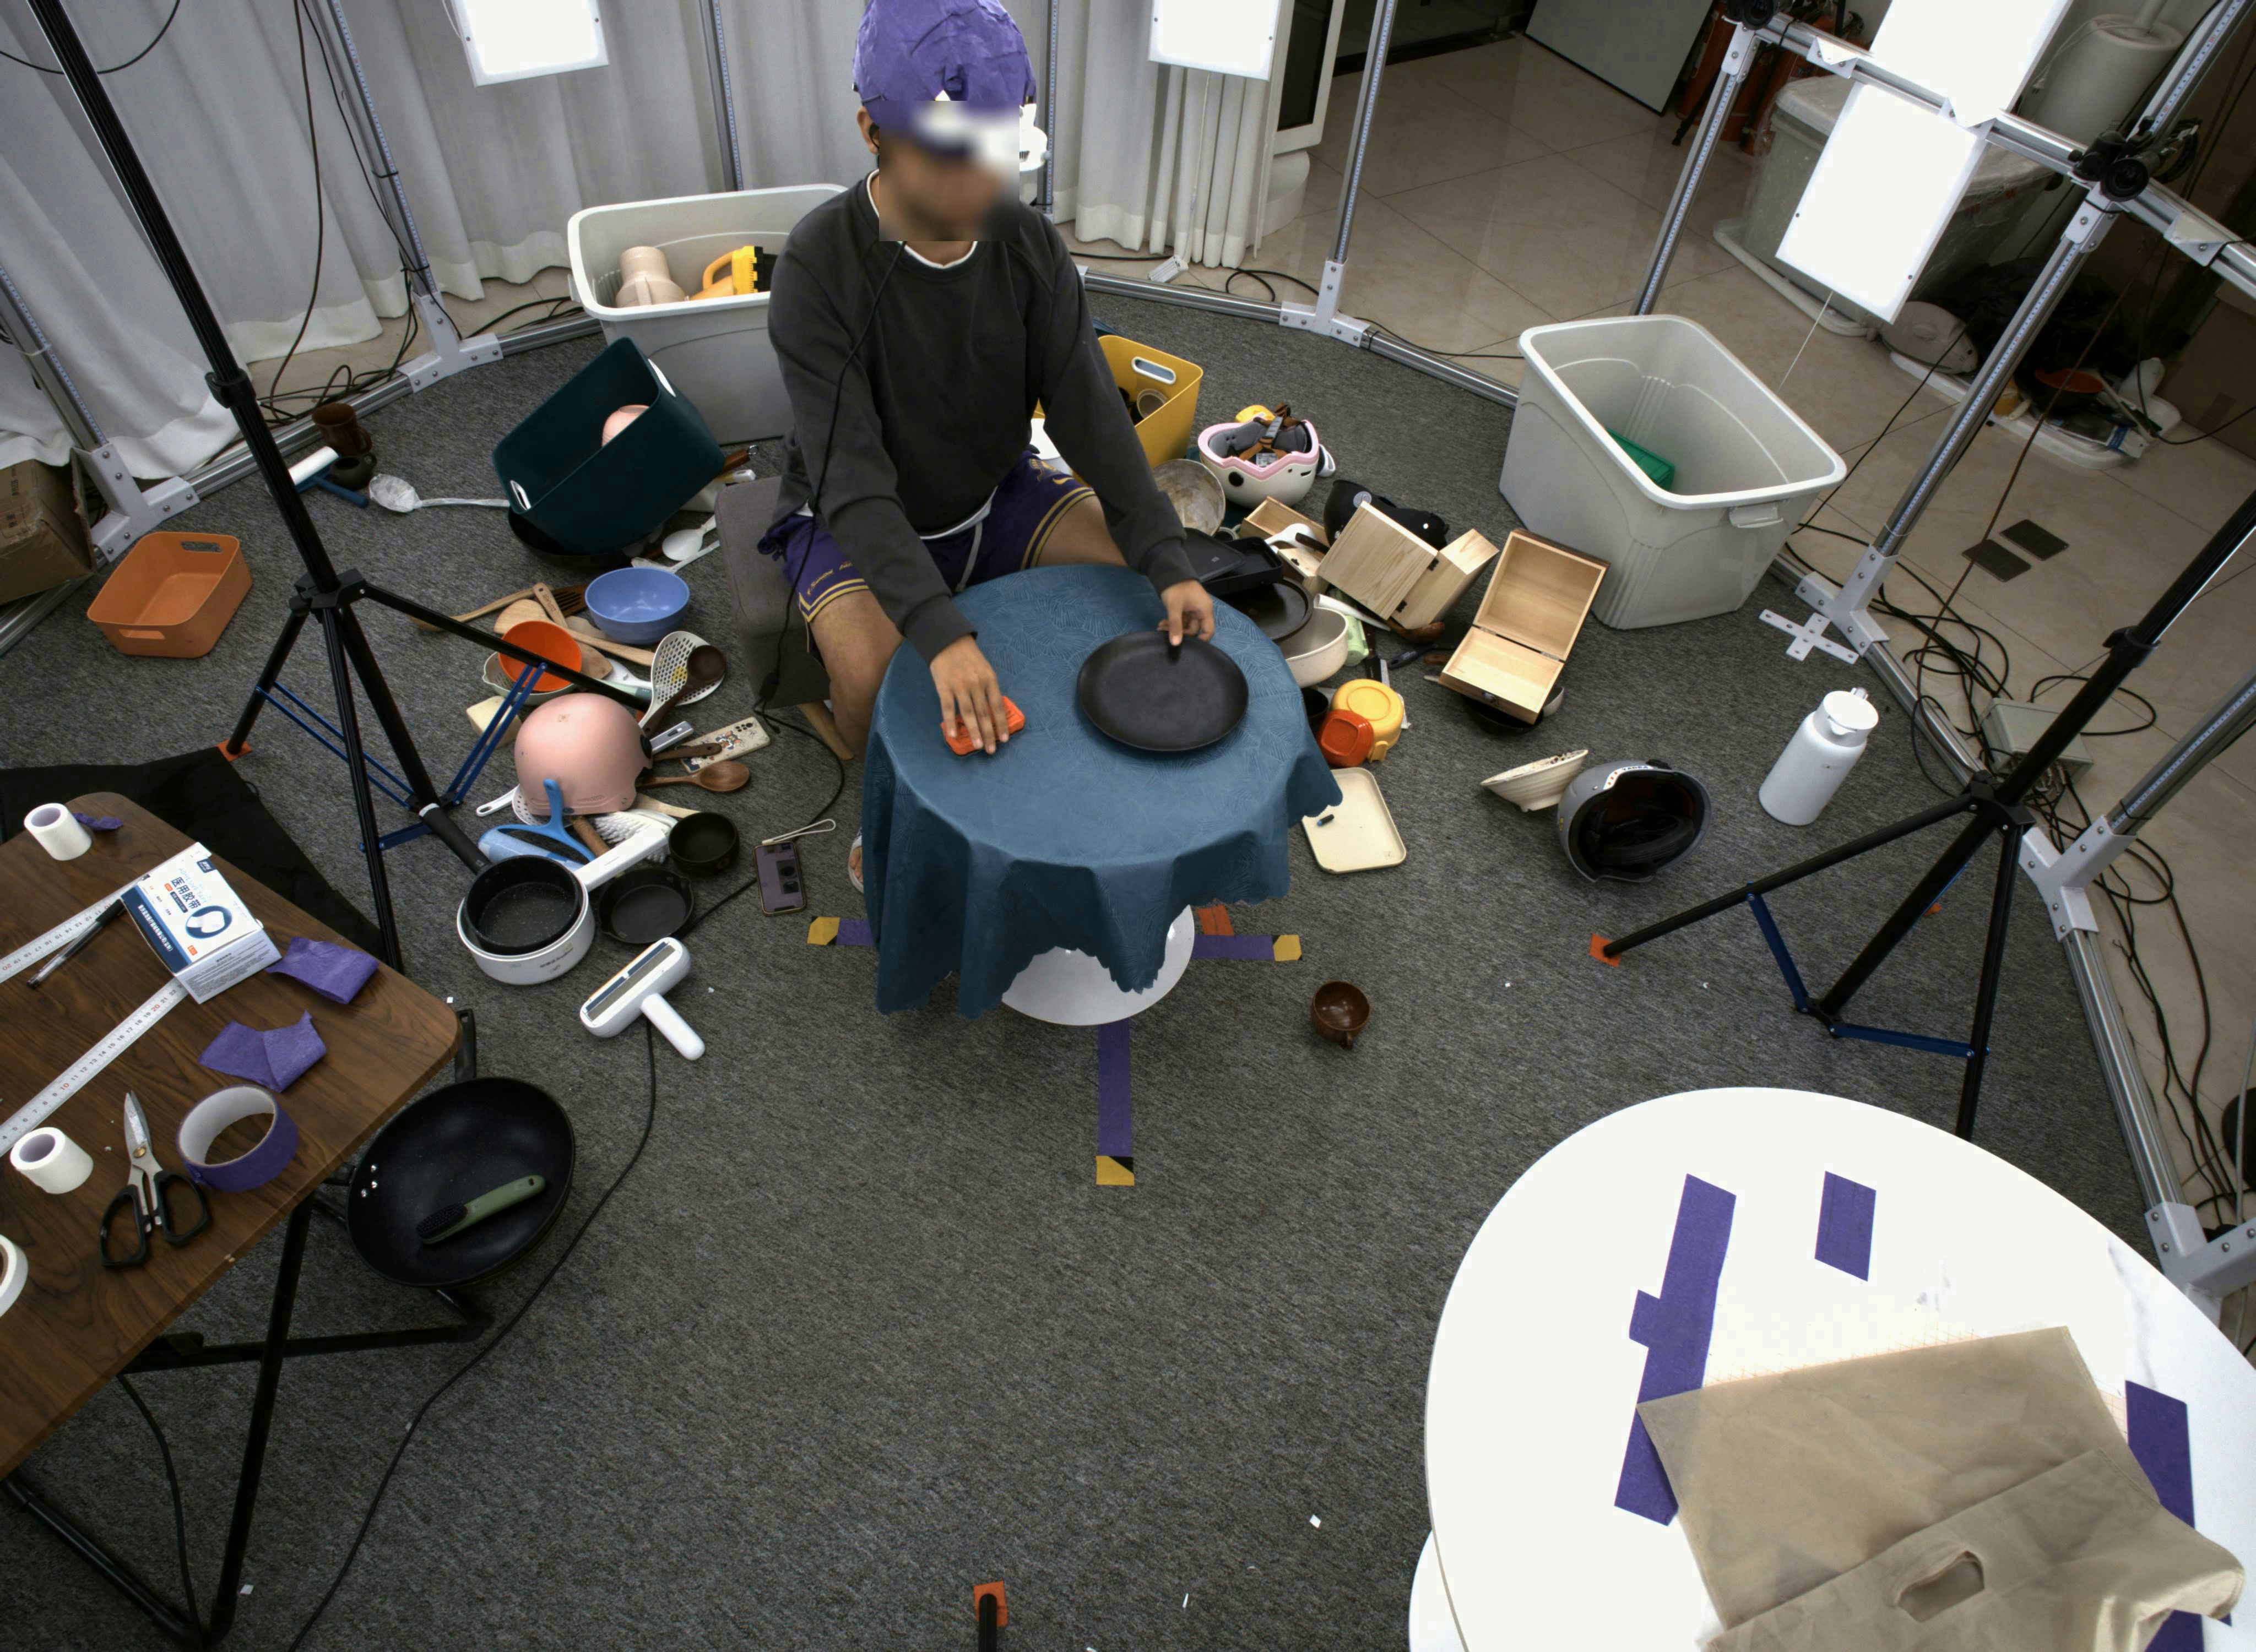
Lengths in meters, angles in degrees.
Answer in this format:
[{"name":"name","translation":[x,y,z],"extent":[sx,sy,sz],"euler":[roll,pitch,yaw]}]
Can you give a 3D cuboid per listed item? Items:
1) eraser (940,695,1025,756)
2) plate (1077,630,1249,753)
[{"name":"eraser","translation":[-0.198,-0.138,1.753],"extent":[0.108,0.022,0.060],"euler":[-26,57,-26]},{"name":"plate","translation":[0.049,-0.189,1.818],"extent":[0.244,0.023,0.250],"euler":[2,49,-2]}]
